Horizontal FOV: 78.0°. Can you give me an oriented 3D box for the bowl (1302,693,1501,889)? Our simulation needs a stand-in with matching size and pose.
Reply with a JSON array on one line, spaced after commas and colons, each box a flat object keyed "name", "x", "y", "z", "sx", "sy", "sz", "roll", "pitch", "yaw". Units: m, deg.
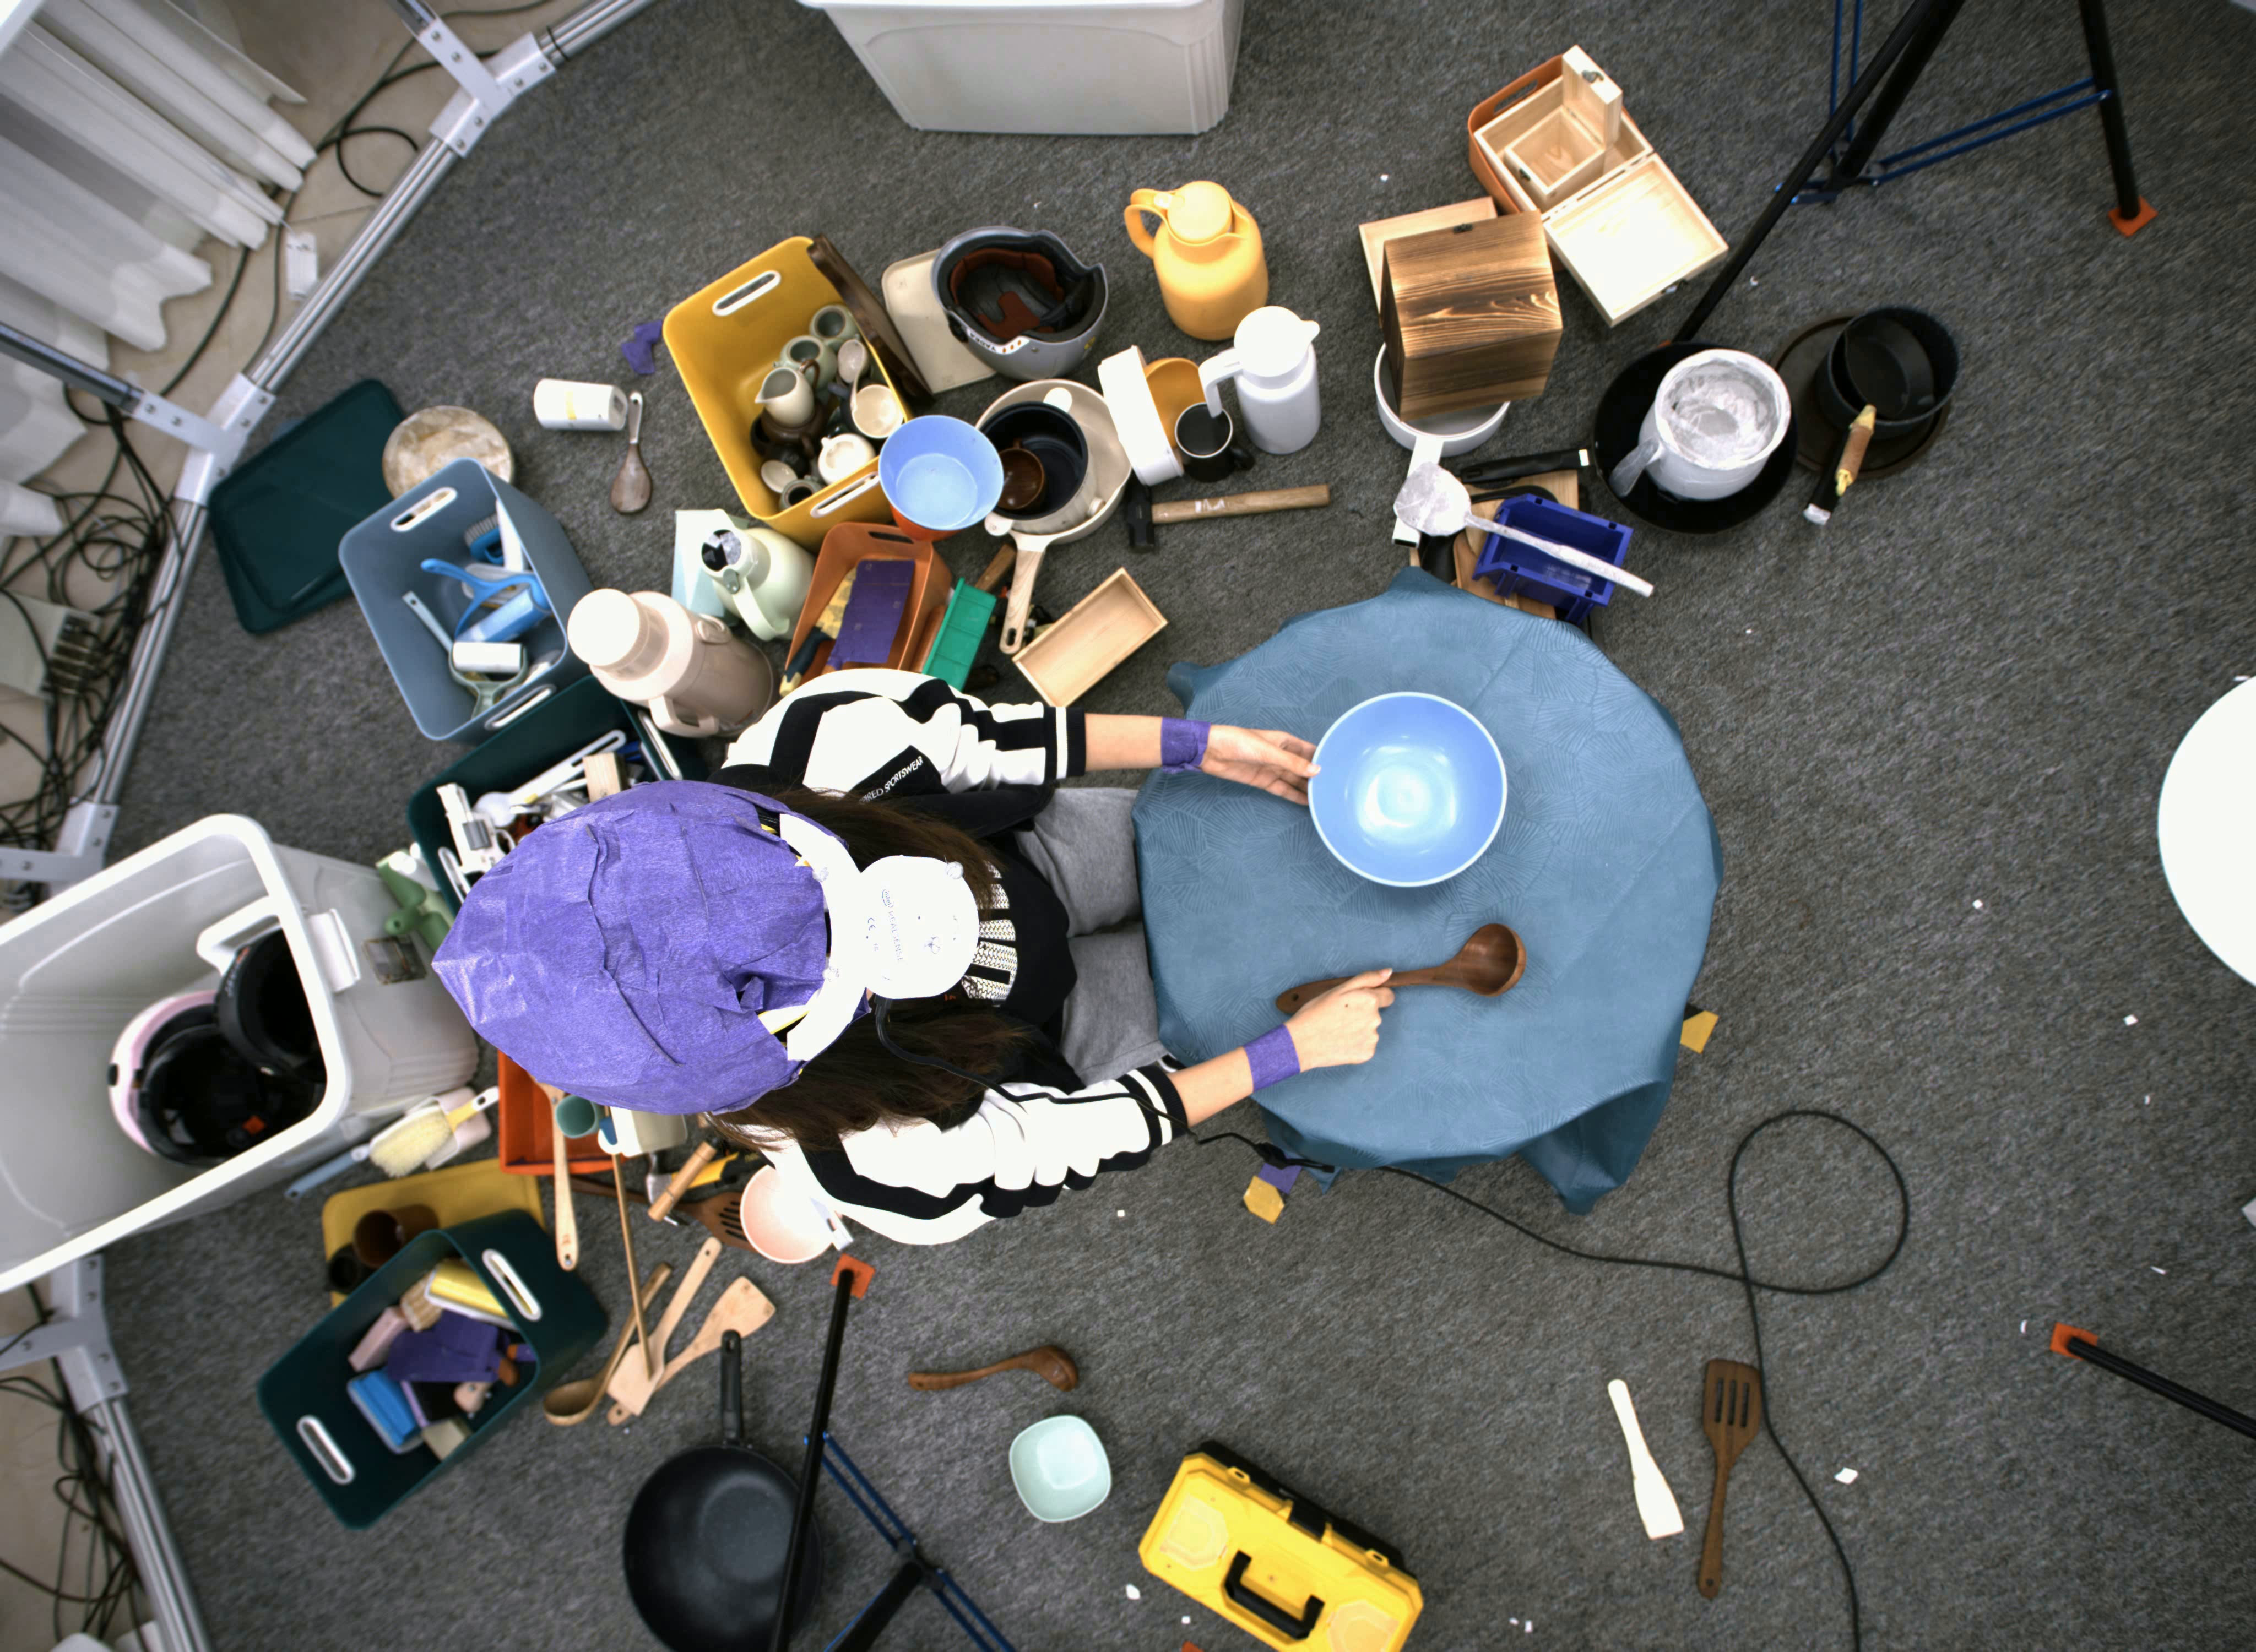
[{"name": "bowl", "x": 0.277, "y": -0.035, "z": 1.418, "sx": 0.197, "sy": 0.095, "sz": 0.196, "roll": 0, "pitch": 91, "yaw": 6}]

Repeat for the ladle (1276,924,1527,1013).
[{"name": "ladle", "x": 0.278, "y": 0.152, "z": 1.423, "sx": 0.261, "sy": 0.066, "sz": 0.074, "roll": -10, "pitch": 56, "yaw": 10}]
